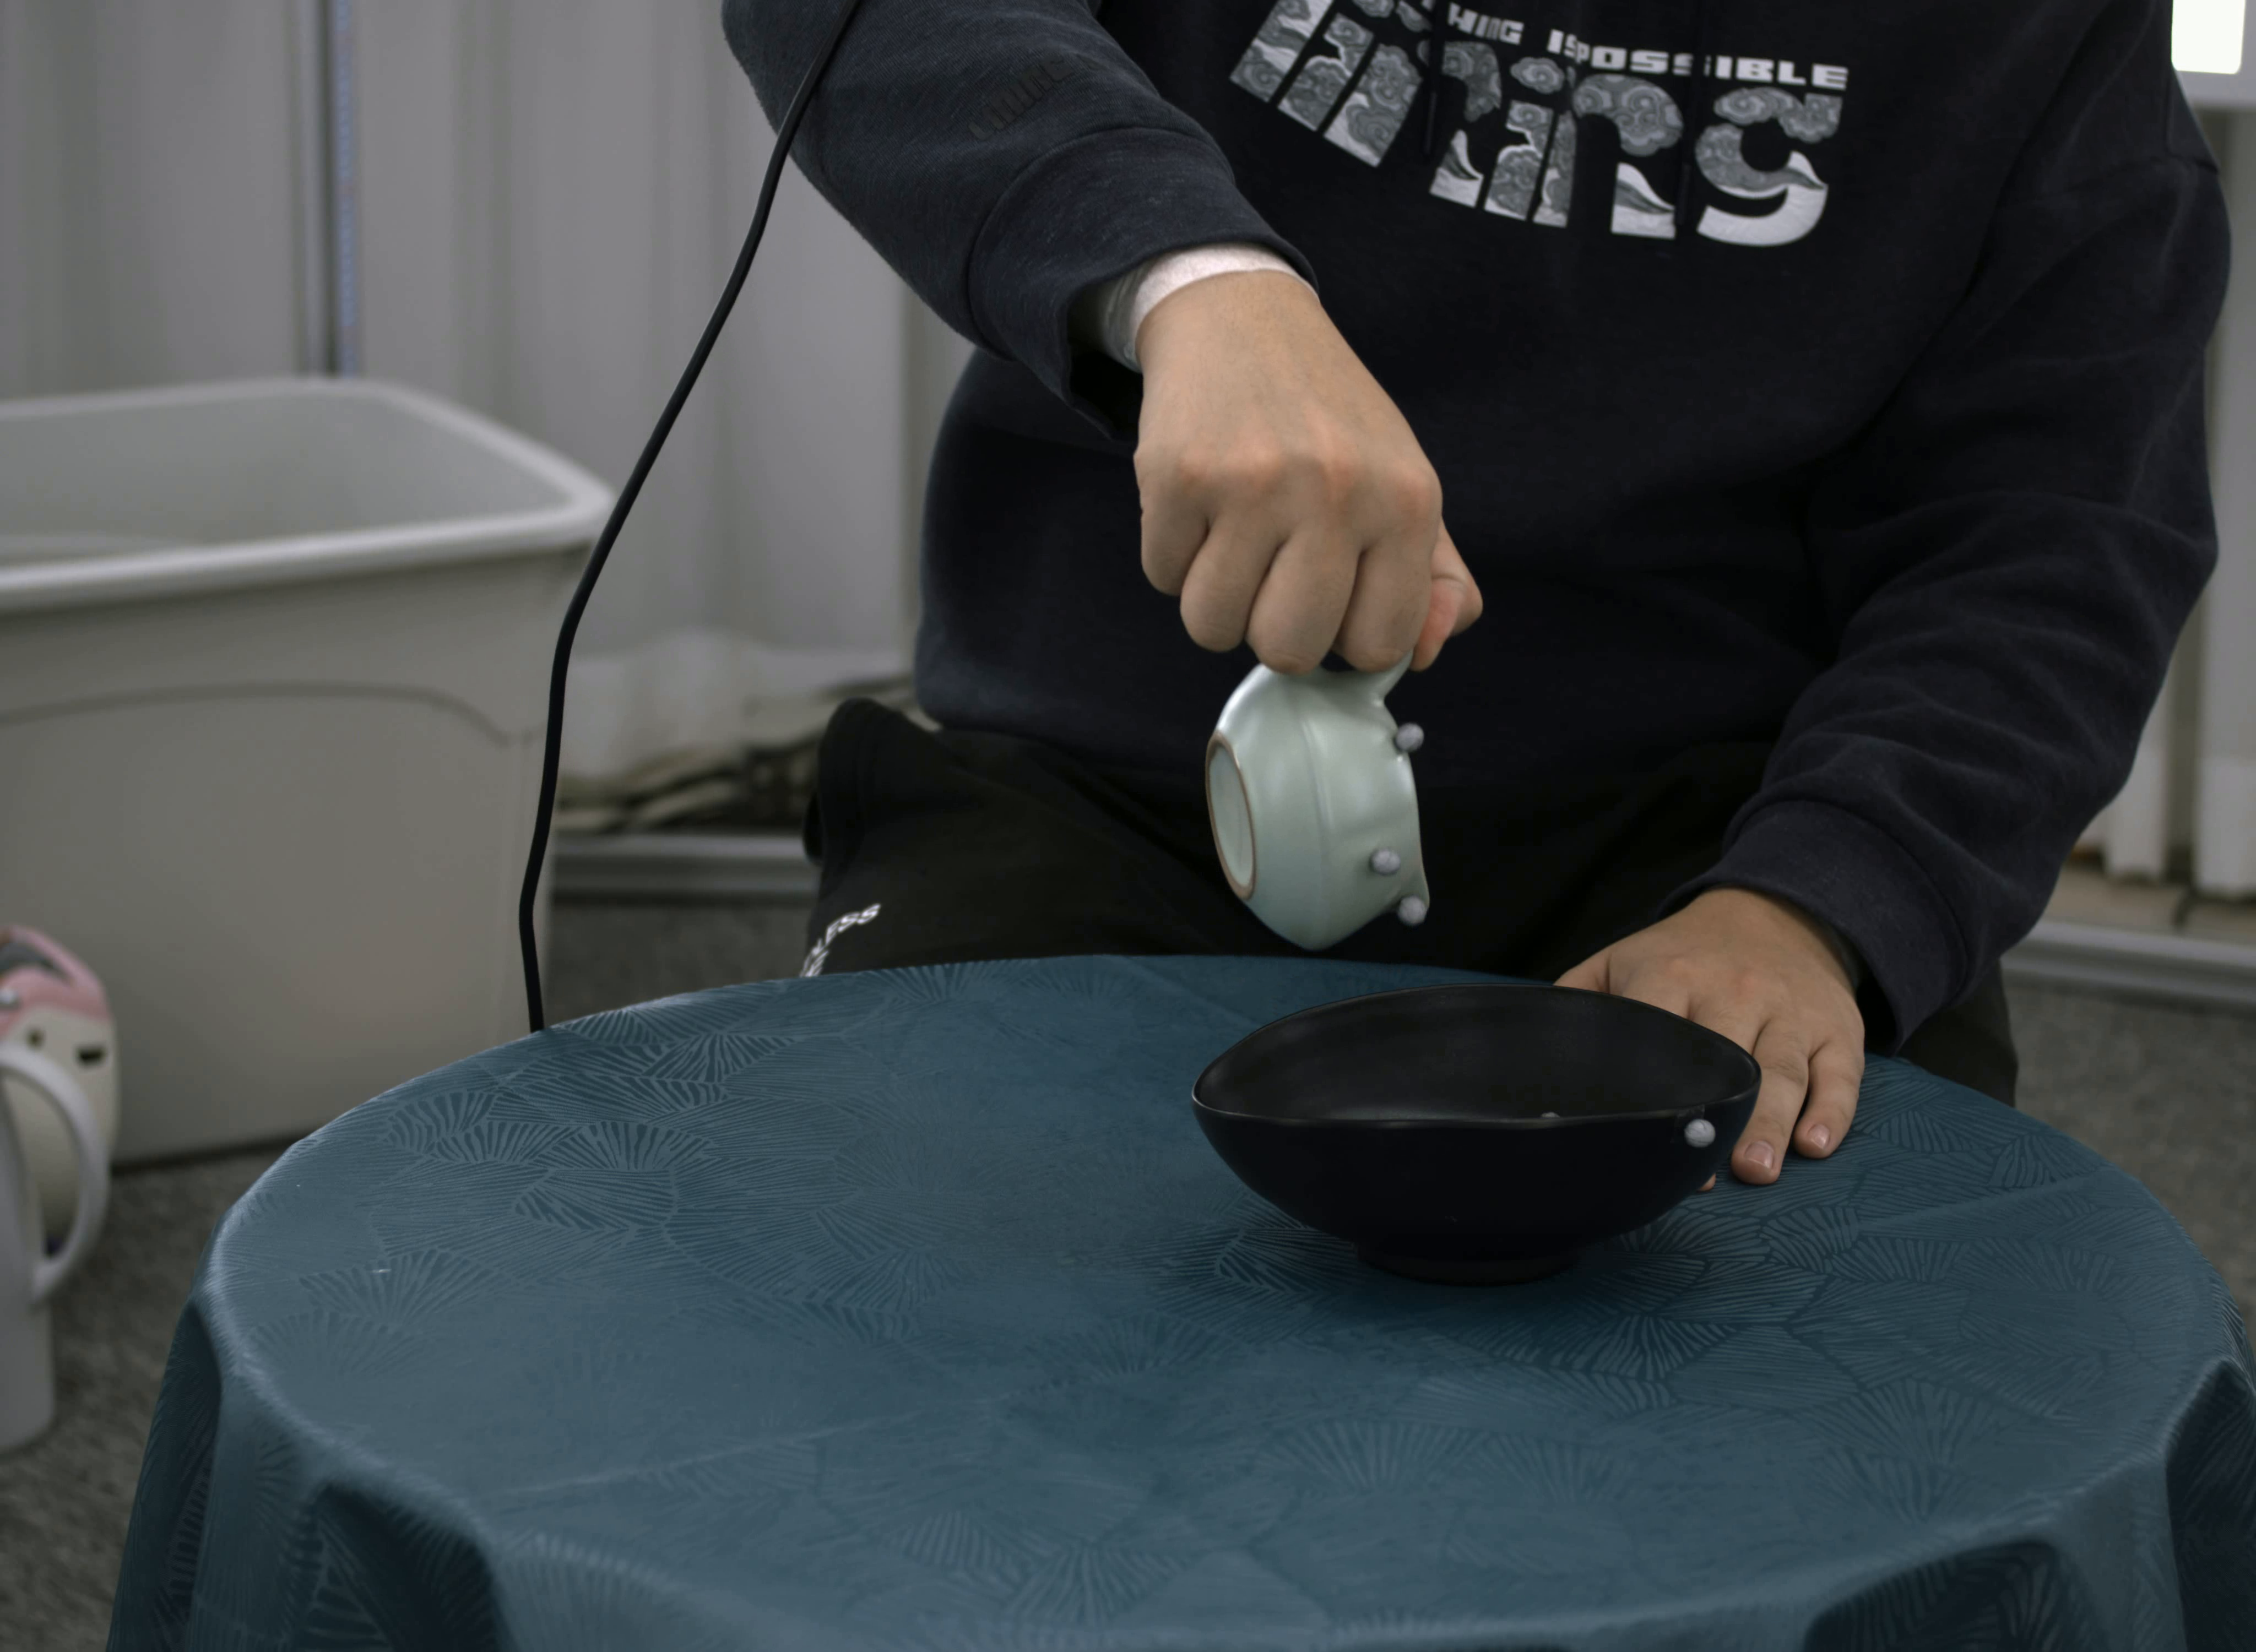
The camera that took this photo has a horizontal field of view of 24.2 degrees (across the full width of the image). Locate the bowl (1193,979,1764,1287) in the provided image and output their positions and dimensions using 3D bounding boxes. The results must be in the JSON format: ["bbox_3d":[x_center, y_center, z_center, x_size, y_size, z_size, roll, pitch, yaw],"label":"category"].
[{"bbox_3d":[0.104,0.096,1.571,0.170,0.067,0.136,-1,15,-4],"label":"bowl"}]

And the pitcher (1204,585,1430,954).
[{"bbox_3d":[0.055,-0.017,1.527,0.060,0.109,0.085,-11,25,-12],"label":"pitcher"}]
